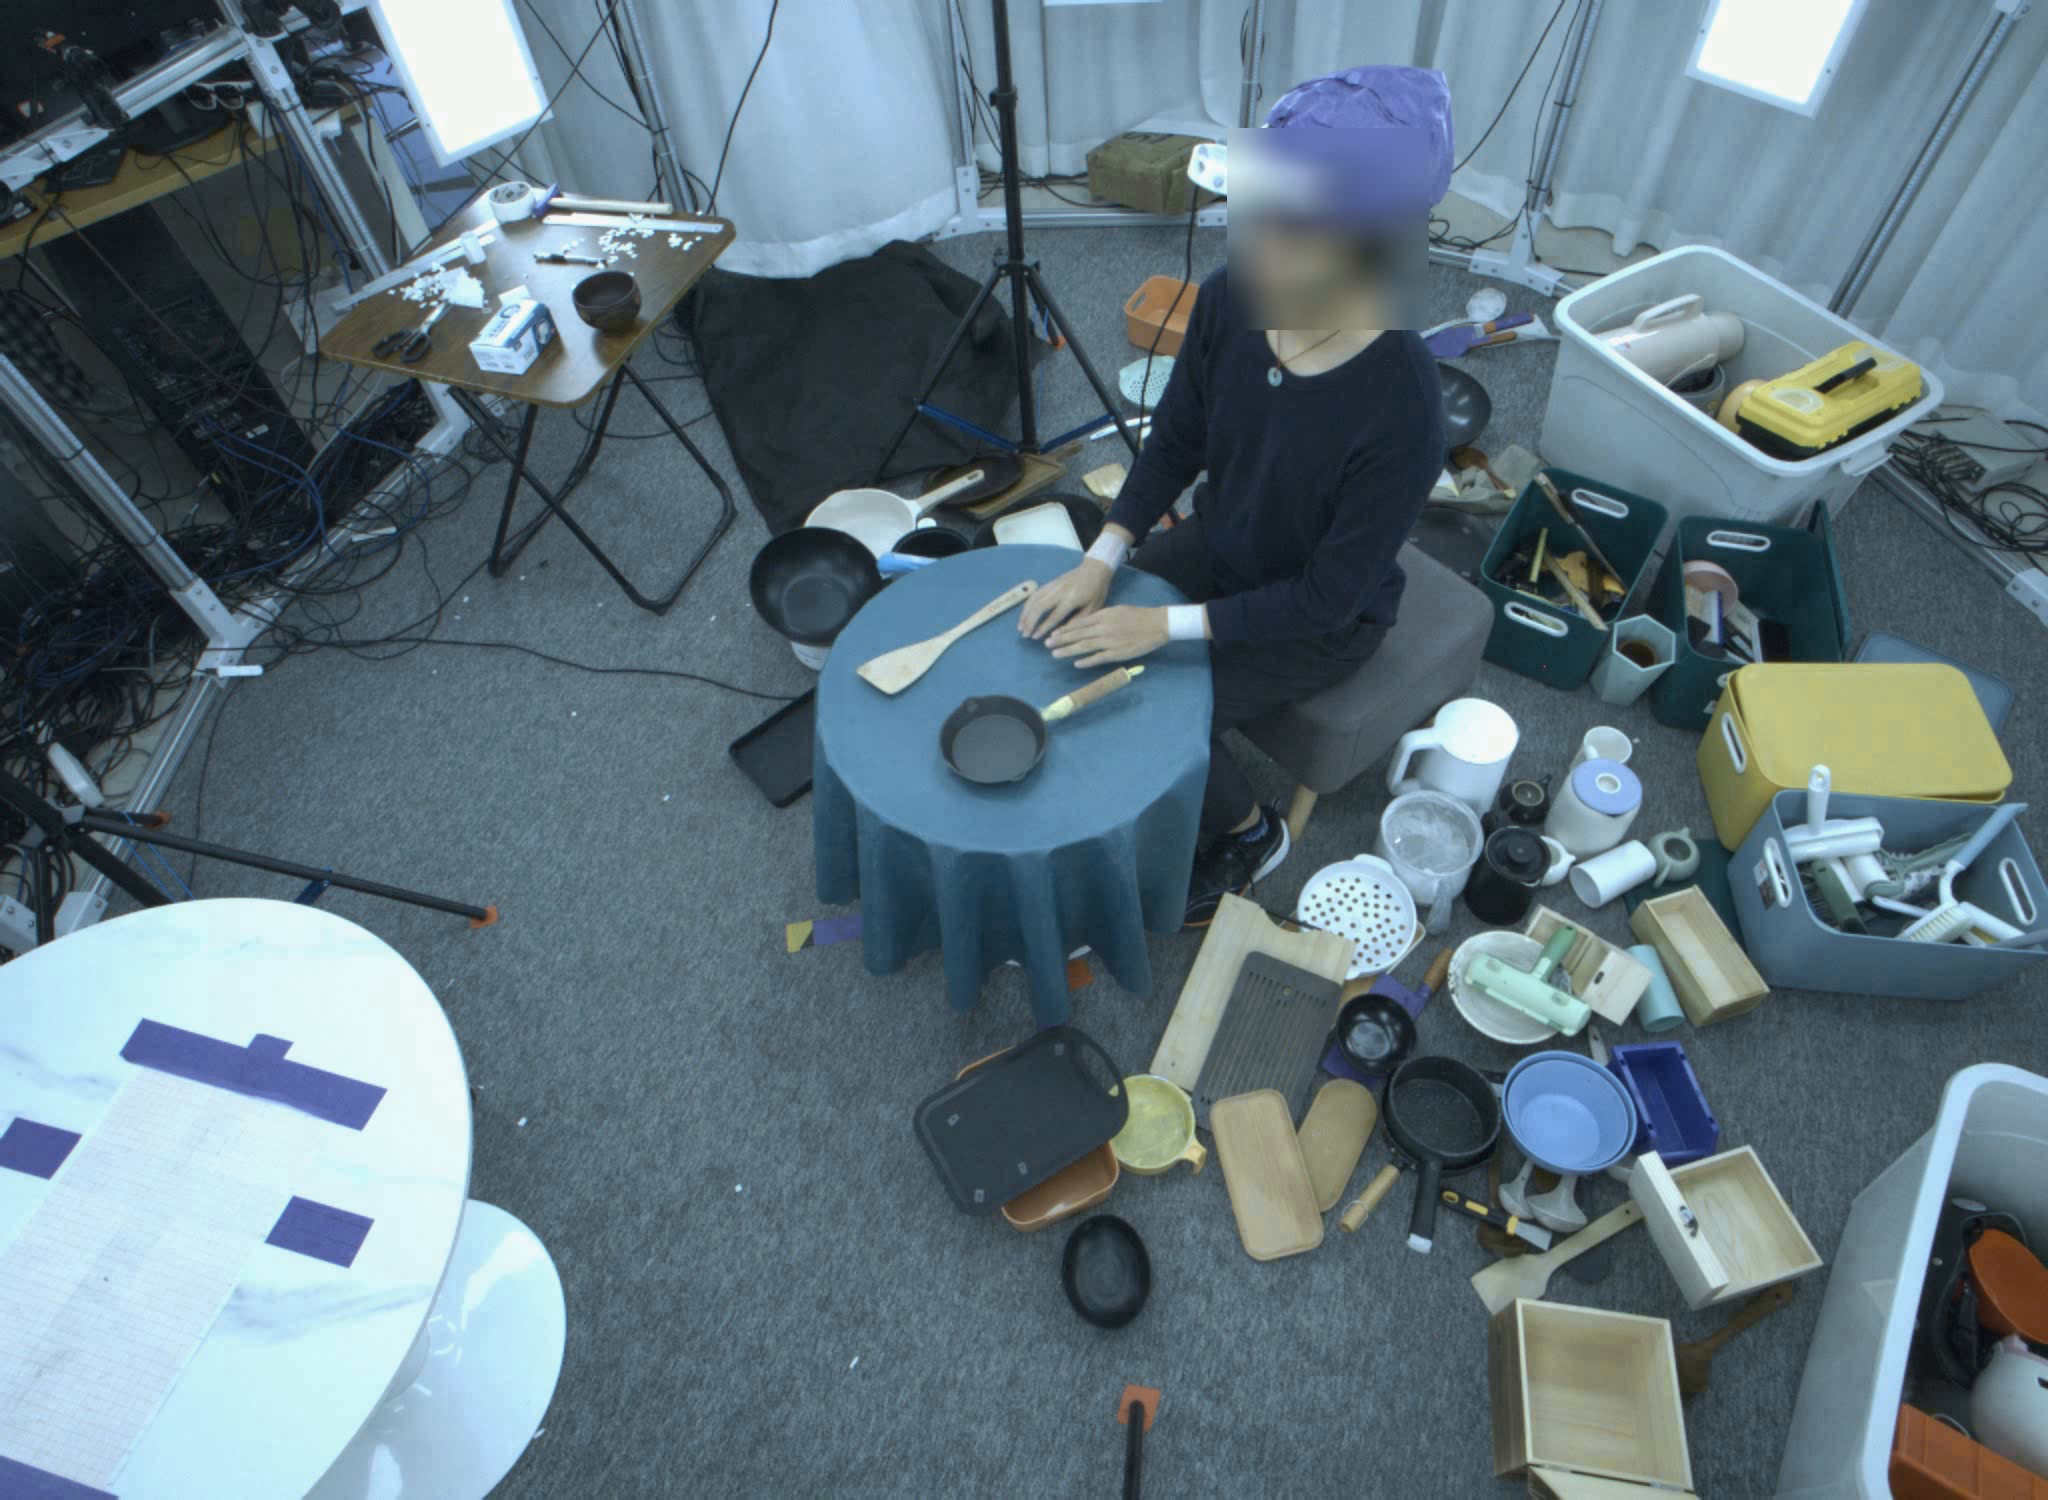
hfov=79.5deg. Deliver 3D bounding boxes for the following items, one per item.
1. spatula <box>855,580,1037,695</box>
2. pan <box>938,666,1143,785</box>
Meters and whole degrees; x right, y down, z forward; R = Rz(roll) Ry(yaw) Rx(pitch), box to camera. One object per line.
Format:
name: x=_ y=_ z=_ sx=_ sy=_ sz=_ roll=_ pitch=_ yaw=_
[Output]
spatula: x=-0.109 y=-0.182 z=1.910 sx=0.330 sy=0.017 sz=0.078 roll=-35 pitch=61 yaw=-20
pan: x=0.031 y=-0.047 z=1.788 sx=0.326 sy=0.050 sz=0.166 roll=-24 pitch=57 yaw=-12
